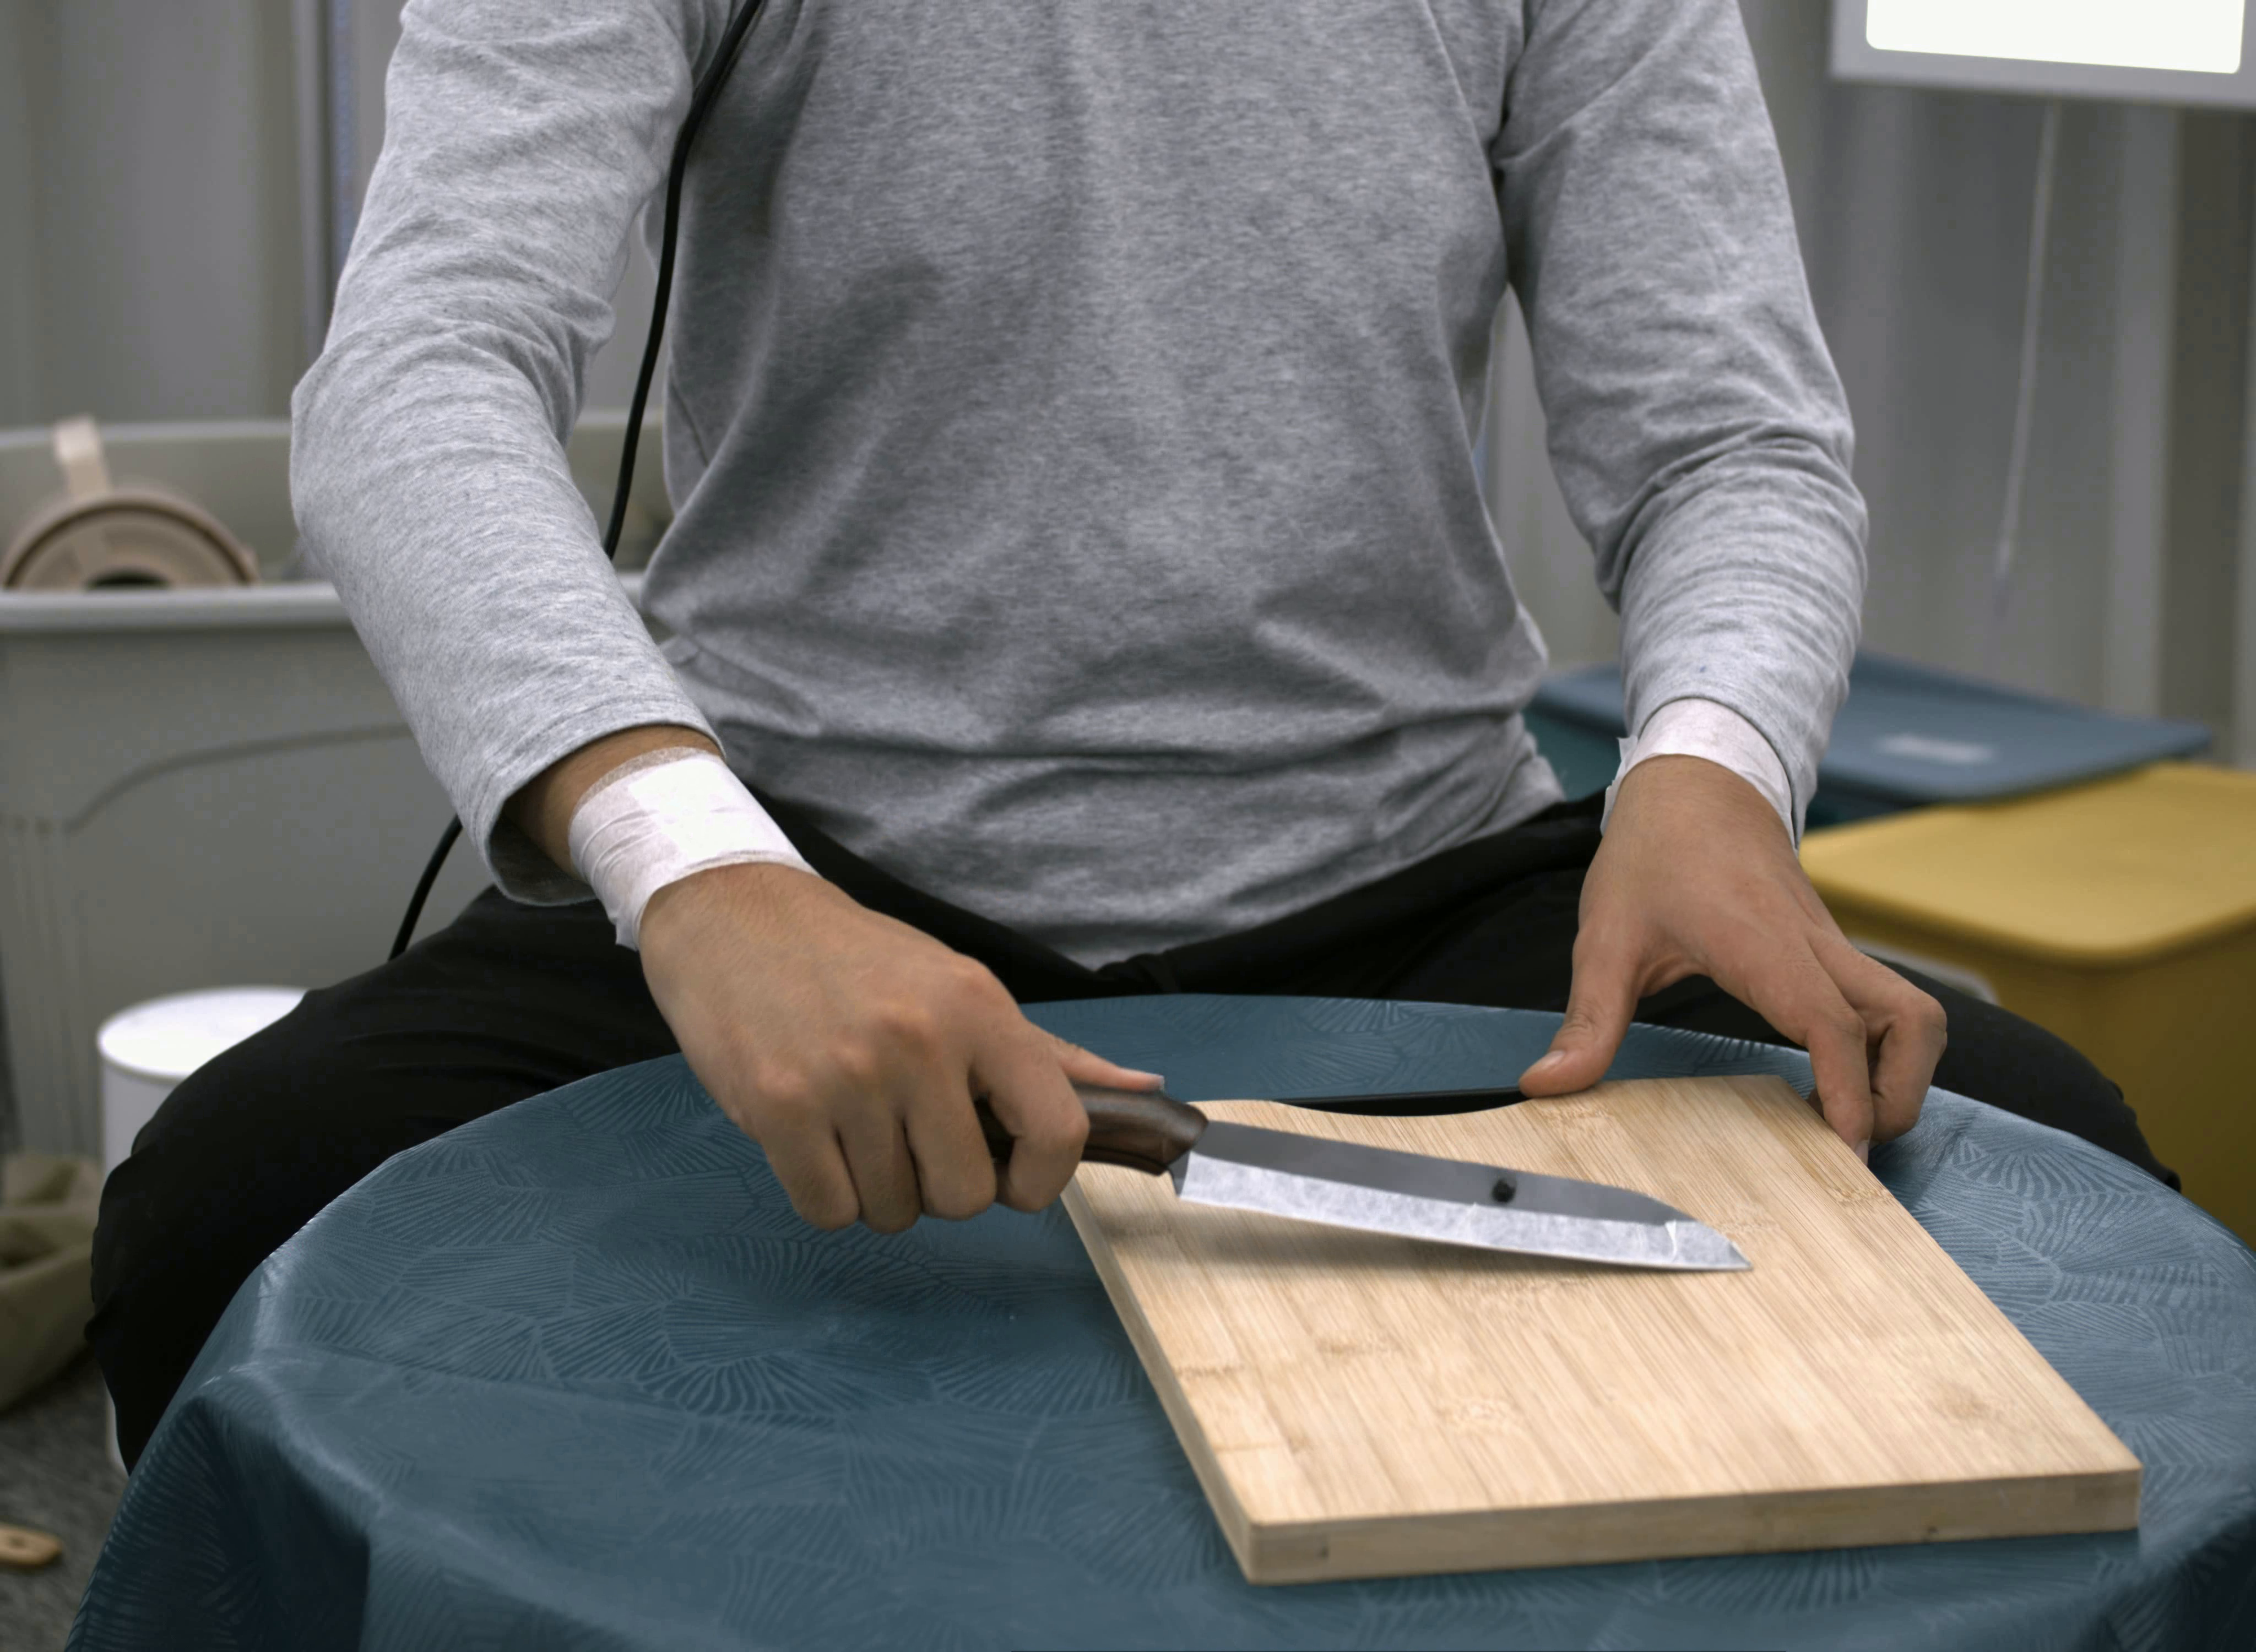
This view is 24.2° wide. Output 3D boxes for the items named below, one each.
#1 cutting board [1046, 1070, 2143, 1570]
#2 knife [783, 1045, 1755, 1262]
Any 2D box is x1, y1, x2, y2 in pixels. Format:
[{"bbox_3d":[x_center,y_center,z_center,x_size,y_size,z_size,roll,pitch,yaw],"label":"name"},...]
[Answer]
[{"bbox_3d":[0.119,0.135,1.516,0.251,0.024,0.345,-2,16,-11],"label":"cutting board"},{"bbox_3d":[0.039,0.098,1.527,0.288,0.020,0.050,10,32,3],"label":"knife"}]
